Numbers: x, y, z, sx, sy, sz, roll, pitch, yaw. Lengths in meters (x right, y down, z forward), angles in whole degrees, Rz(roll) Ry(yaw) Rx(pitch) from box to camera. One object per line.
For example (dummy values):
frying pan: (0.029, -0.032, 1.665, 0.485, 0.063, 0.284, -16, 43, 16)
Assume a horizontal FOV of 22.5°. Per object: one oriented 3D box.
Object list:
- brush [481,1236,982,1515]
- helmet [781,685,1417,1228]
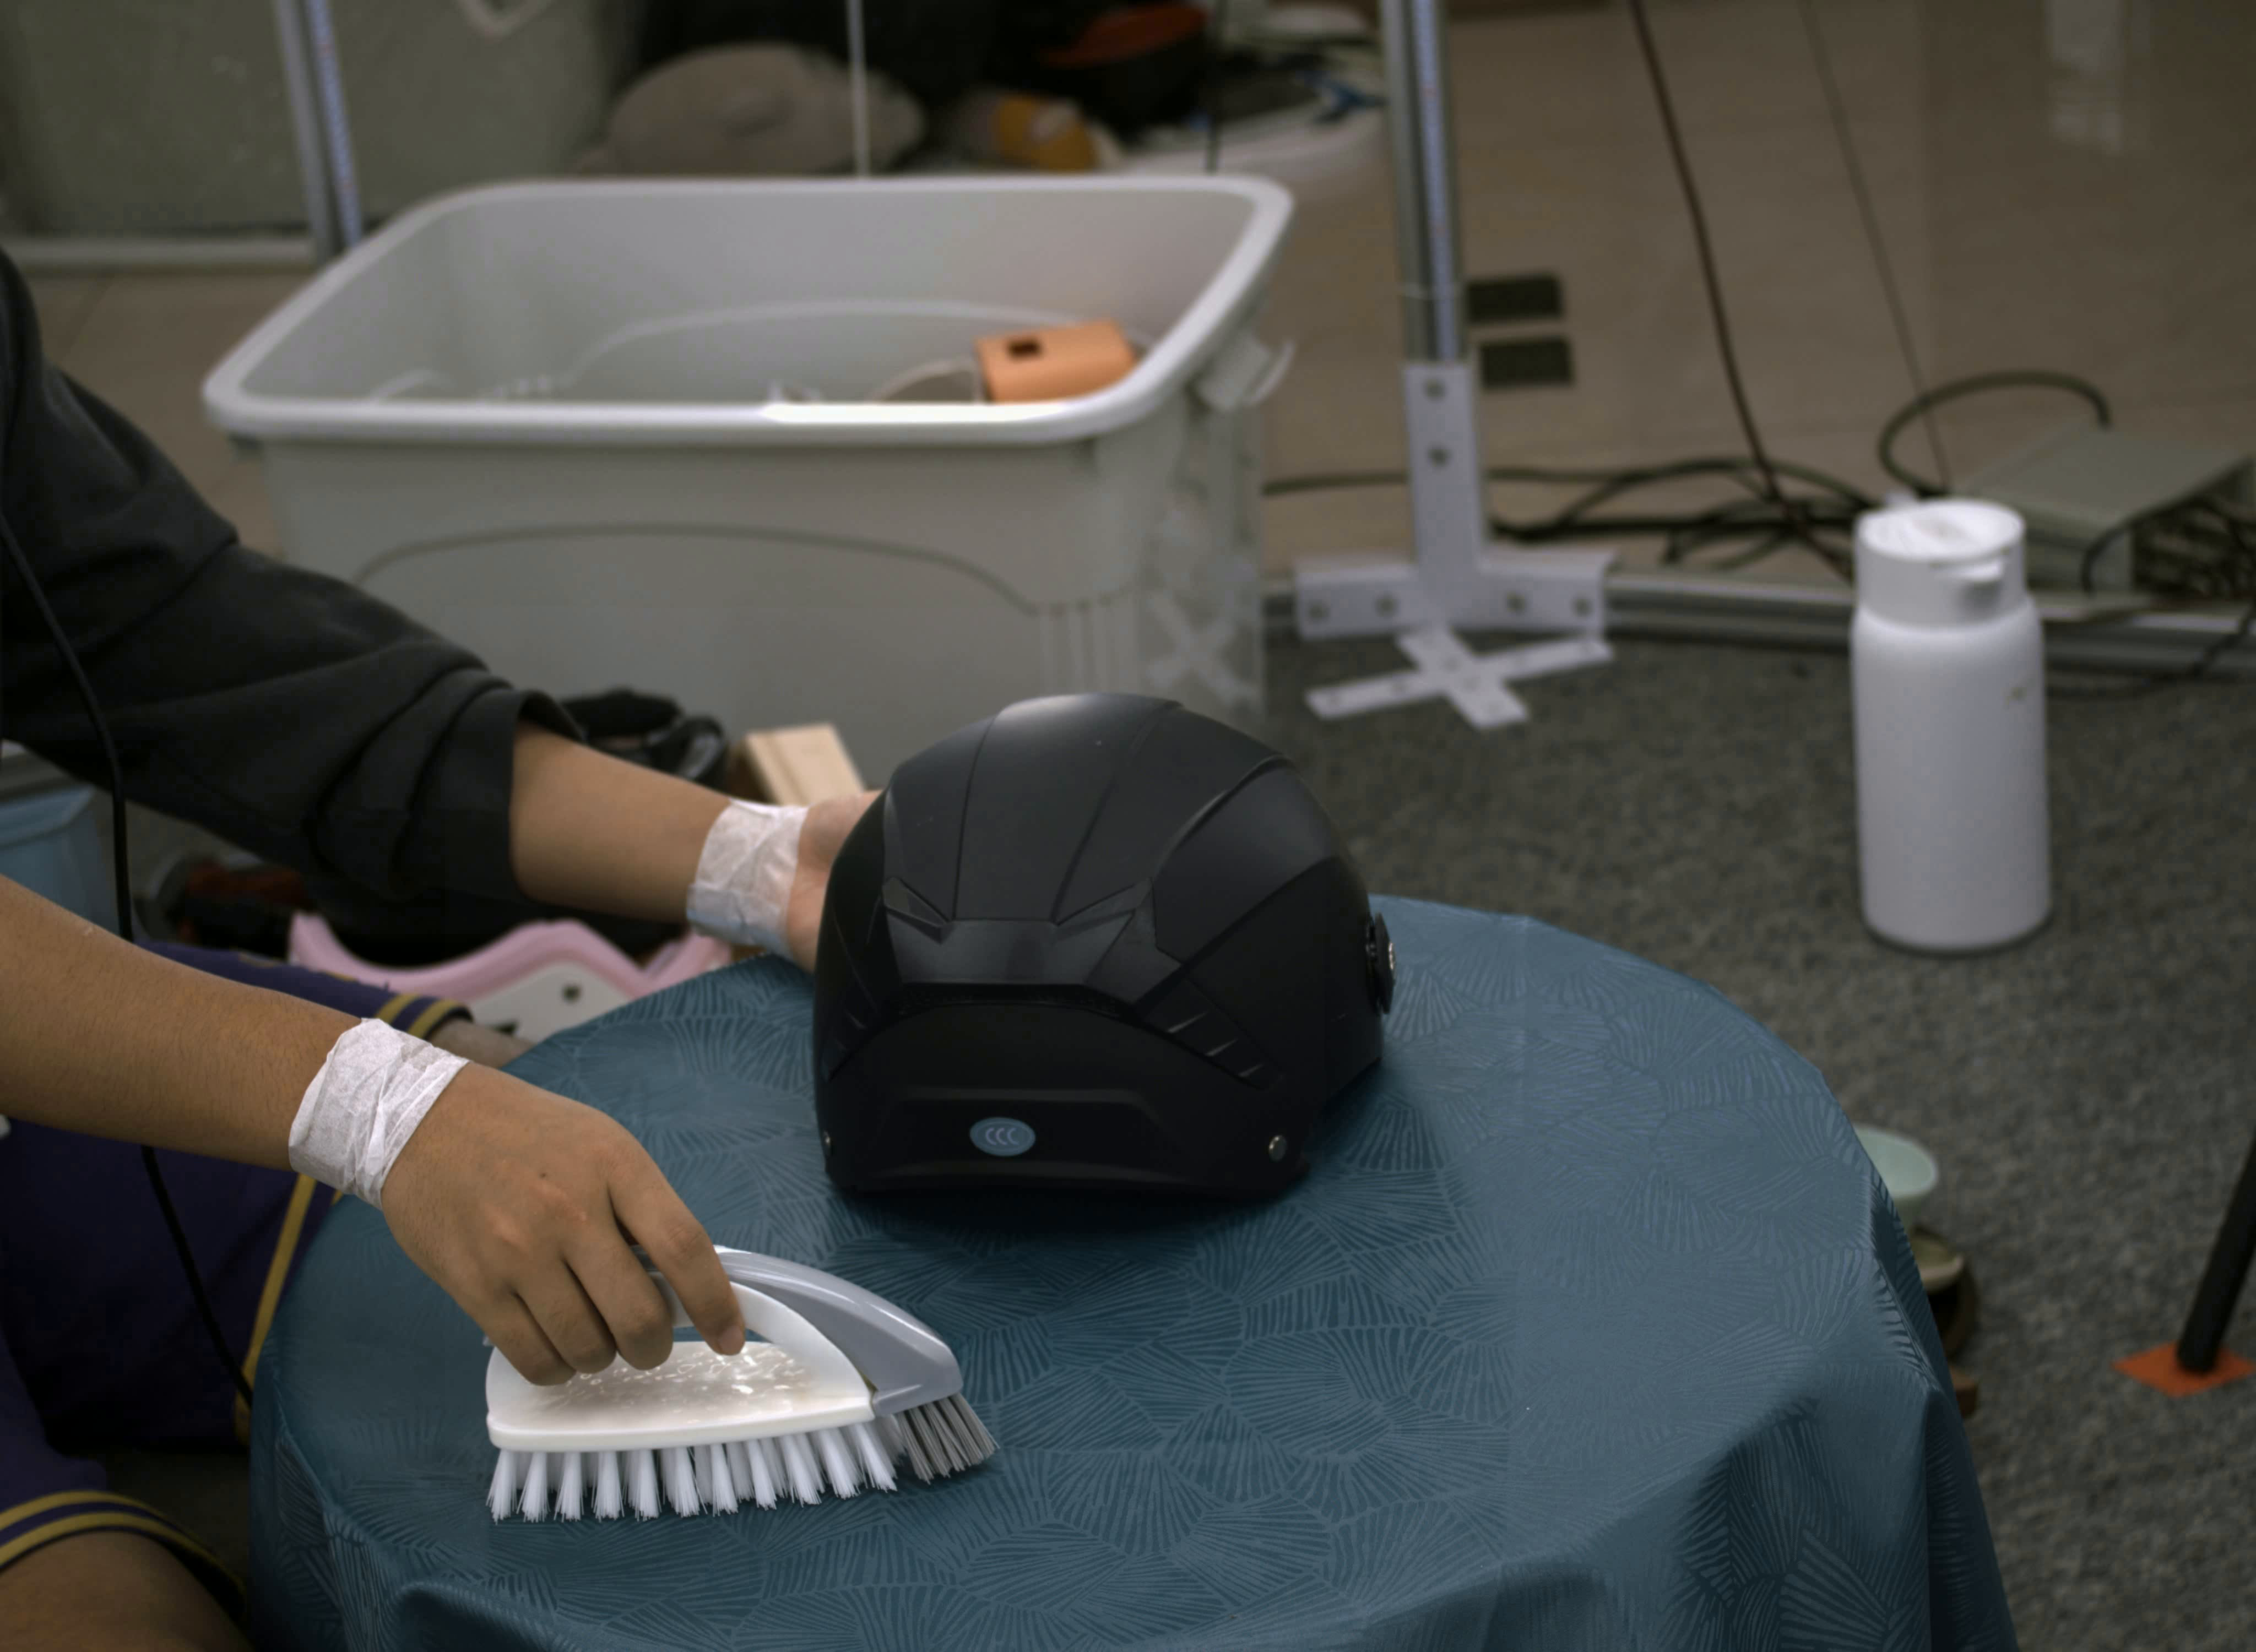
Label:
brush: (-0.141, 0.185, 1.973, 0.175, 0.096, 0.060, -1, 28, 7)
helmet: (-0.014, 0.034, 2.185, 0.246, 0.175, 0.272, 2, 31, 15)
